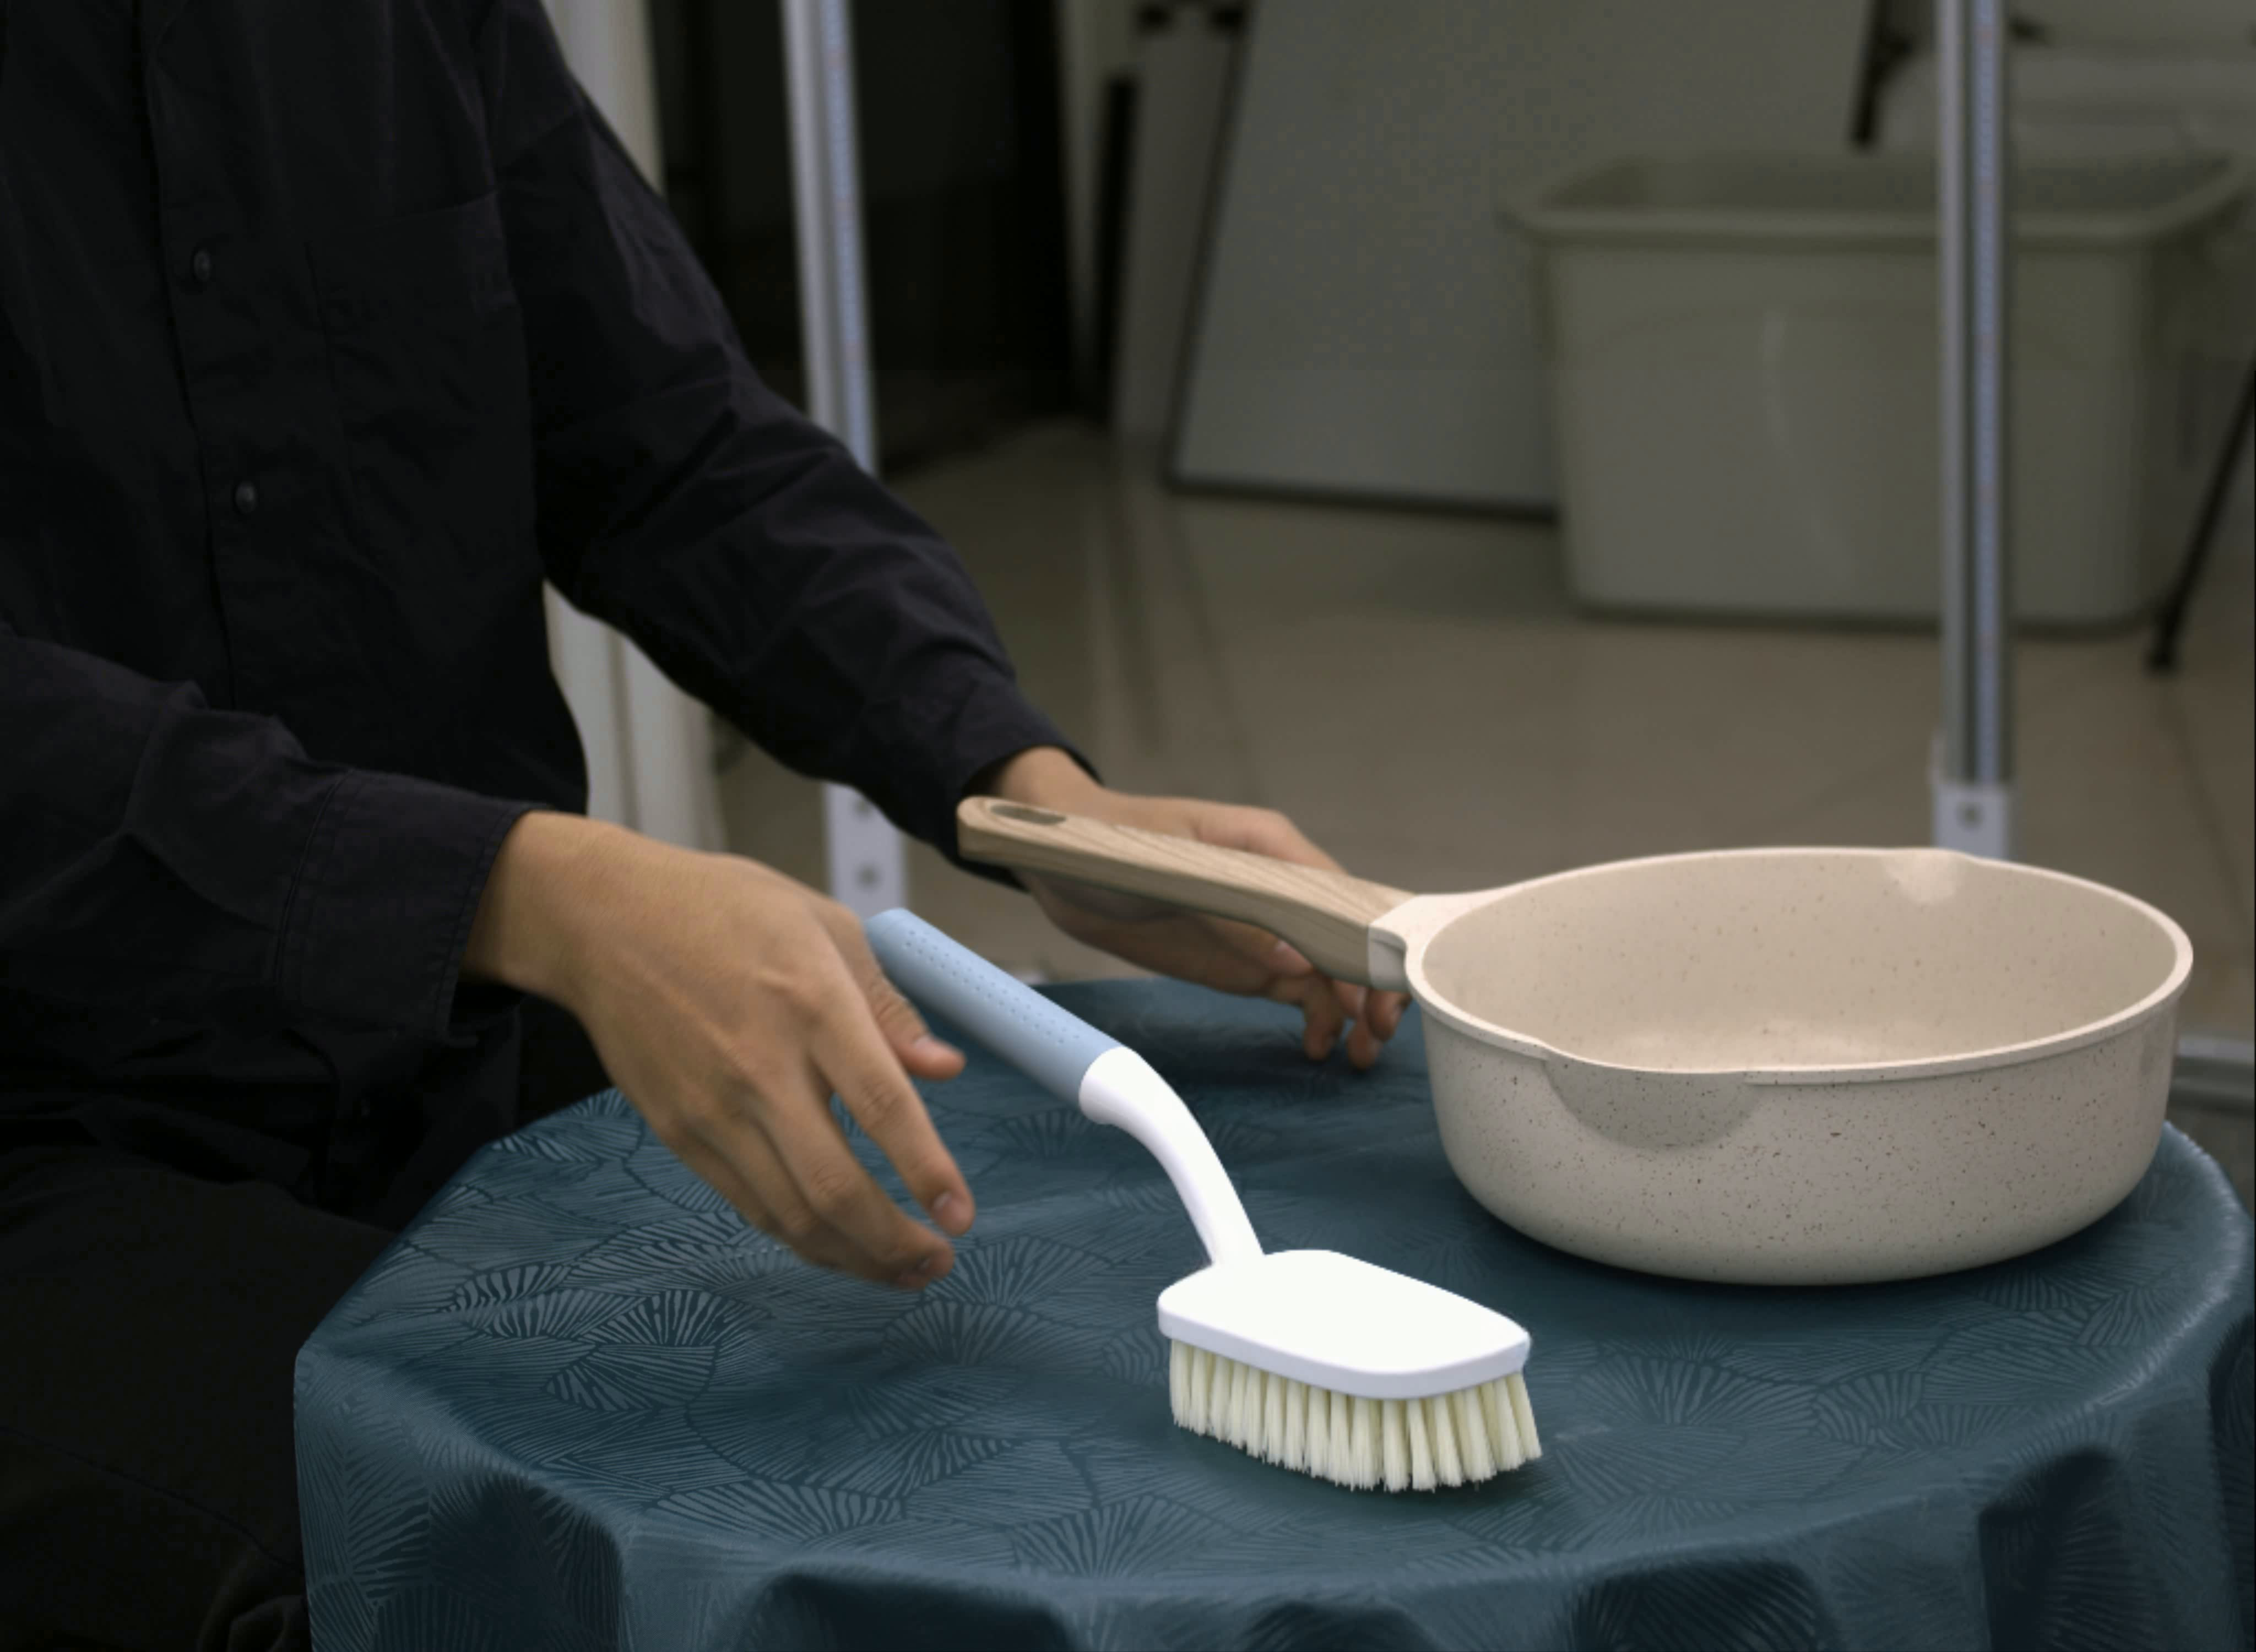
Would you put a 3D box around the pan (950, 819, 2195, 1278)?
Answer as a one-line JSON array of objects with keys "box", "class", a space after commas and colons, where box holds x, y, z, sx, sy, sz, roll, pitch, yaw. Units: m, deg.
[{"box": [0.135, 0.062, 1.767, 0.436, 0.103, 0.259, 4, 16, 29], "class": "pan"}]

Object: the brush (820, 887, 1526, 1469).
[{"box": [0.007, 0.117, 1.609, 0.329, 0.085, 0.082, 30, -3, 46], "class": "brush"}]
